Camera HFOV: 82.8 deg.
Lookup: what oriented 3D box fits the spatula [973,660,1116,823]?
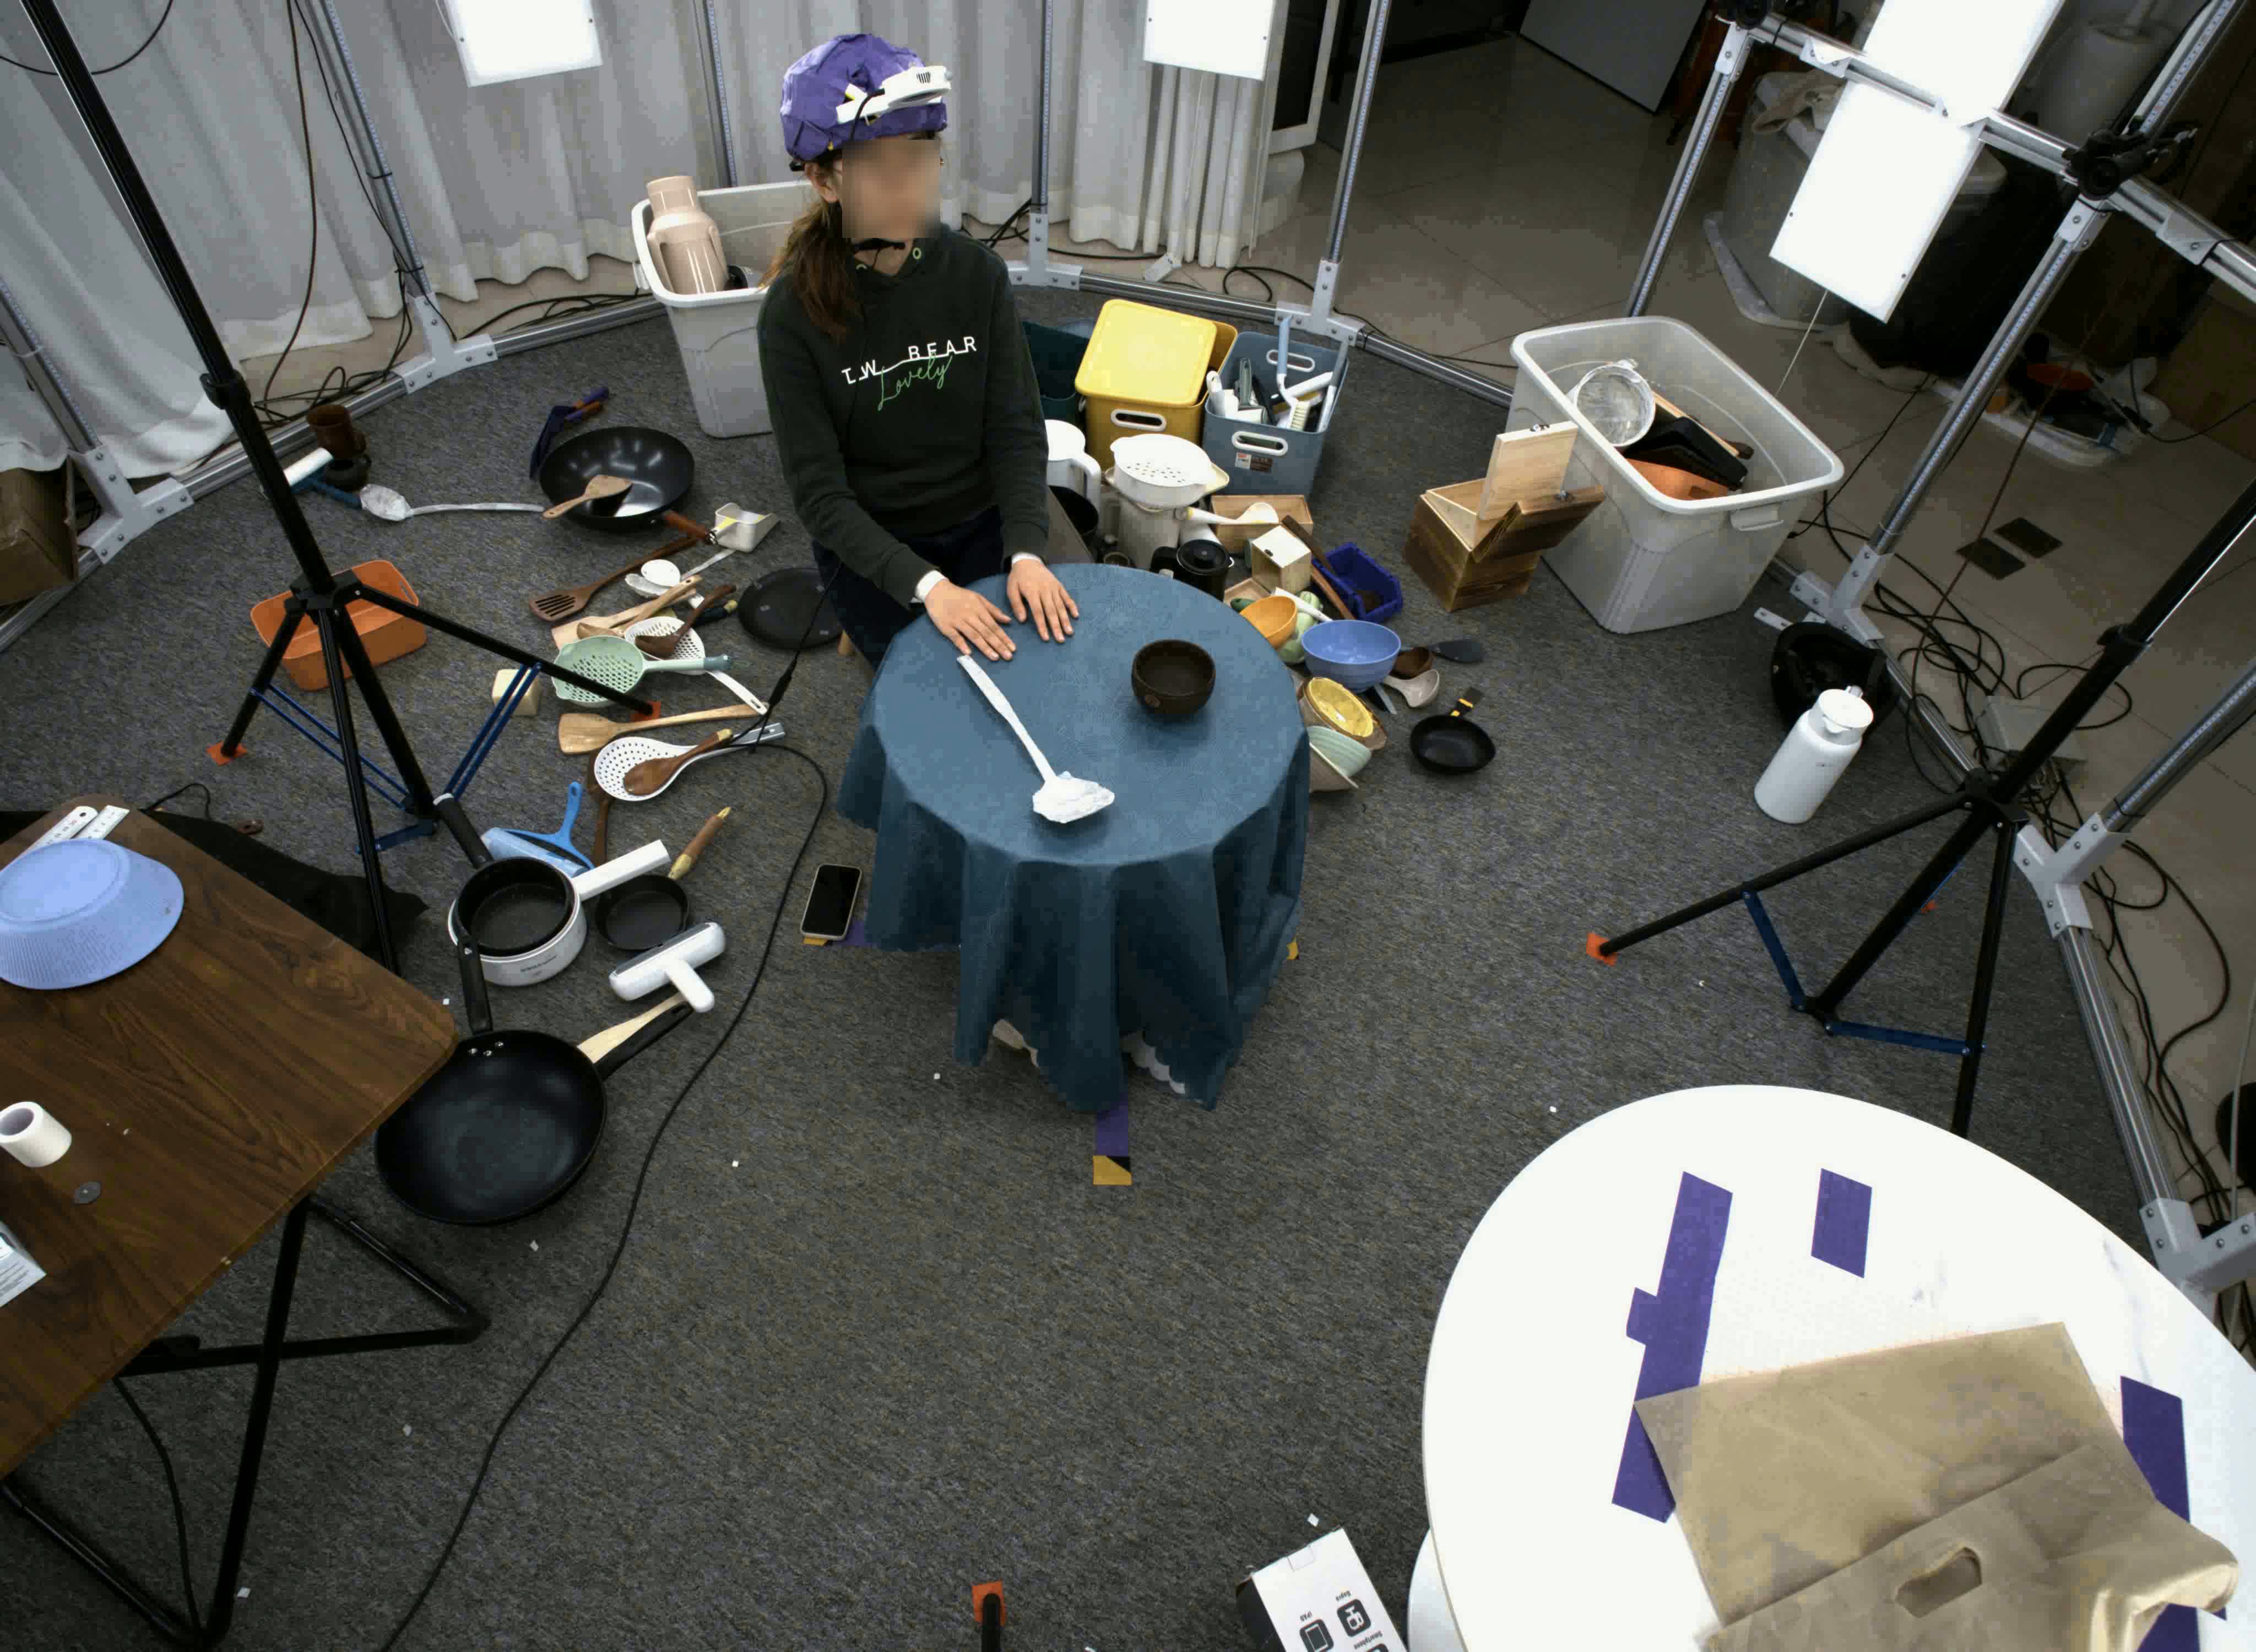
[{"bbox_3d":[-0.138,-0.127,1.760,0.099,0.043,0.373,-22,54,-19],"label":"spatula"}]

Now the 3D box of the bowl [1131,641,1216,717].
[{"bbox_3d":[0.063,-0.200,1.816,0.118,0.068,0.121,3,47,-3],"label":"bowl"}]
